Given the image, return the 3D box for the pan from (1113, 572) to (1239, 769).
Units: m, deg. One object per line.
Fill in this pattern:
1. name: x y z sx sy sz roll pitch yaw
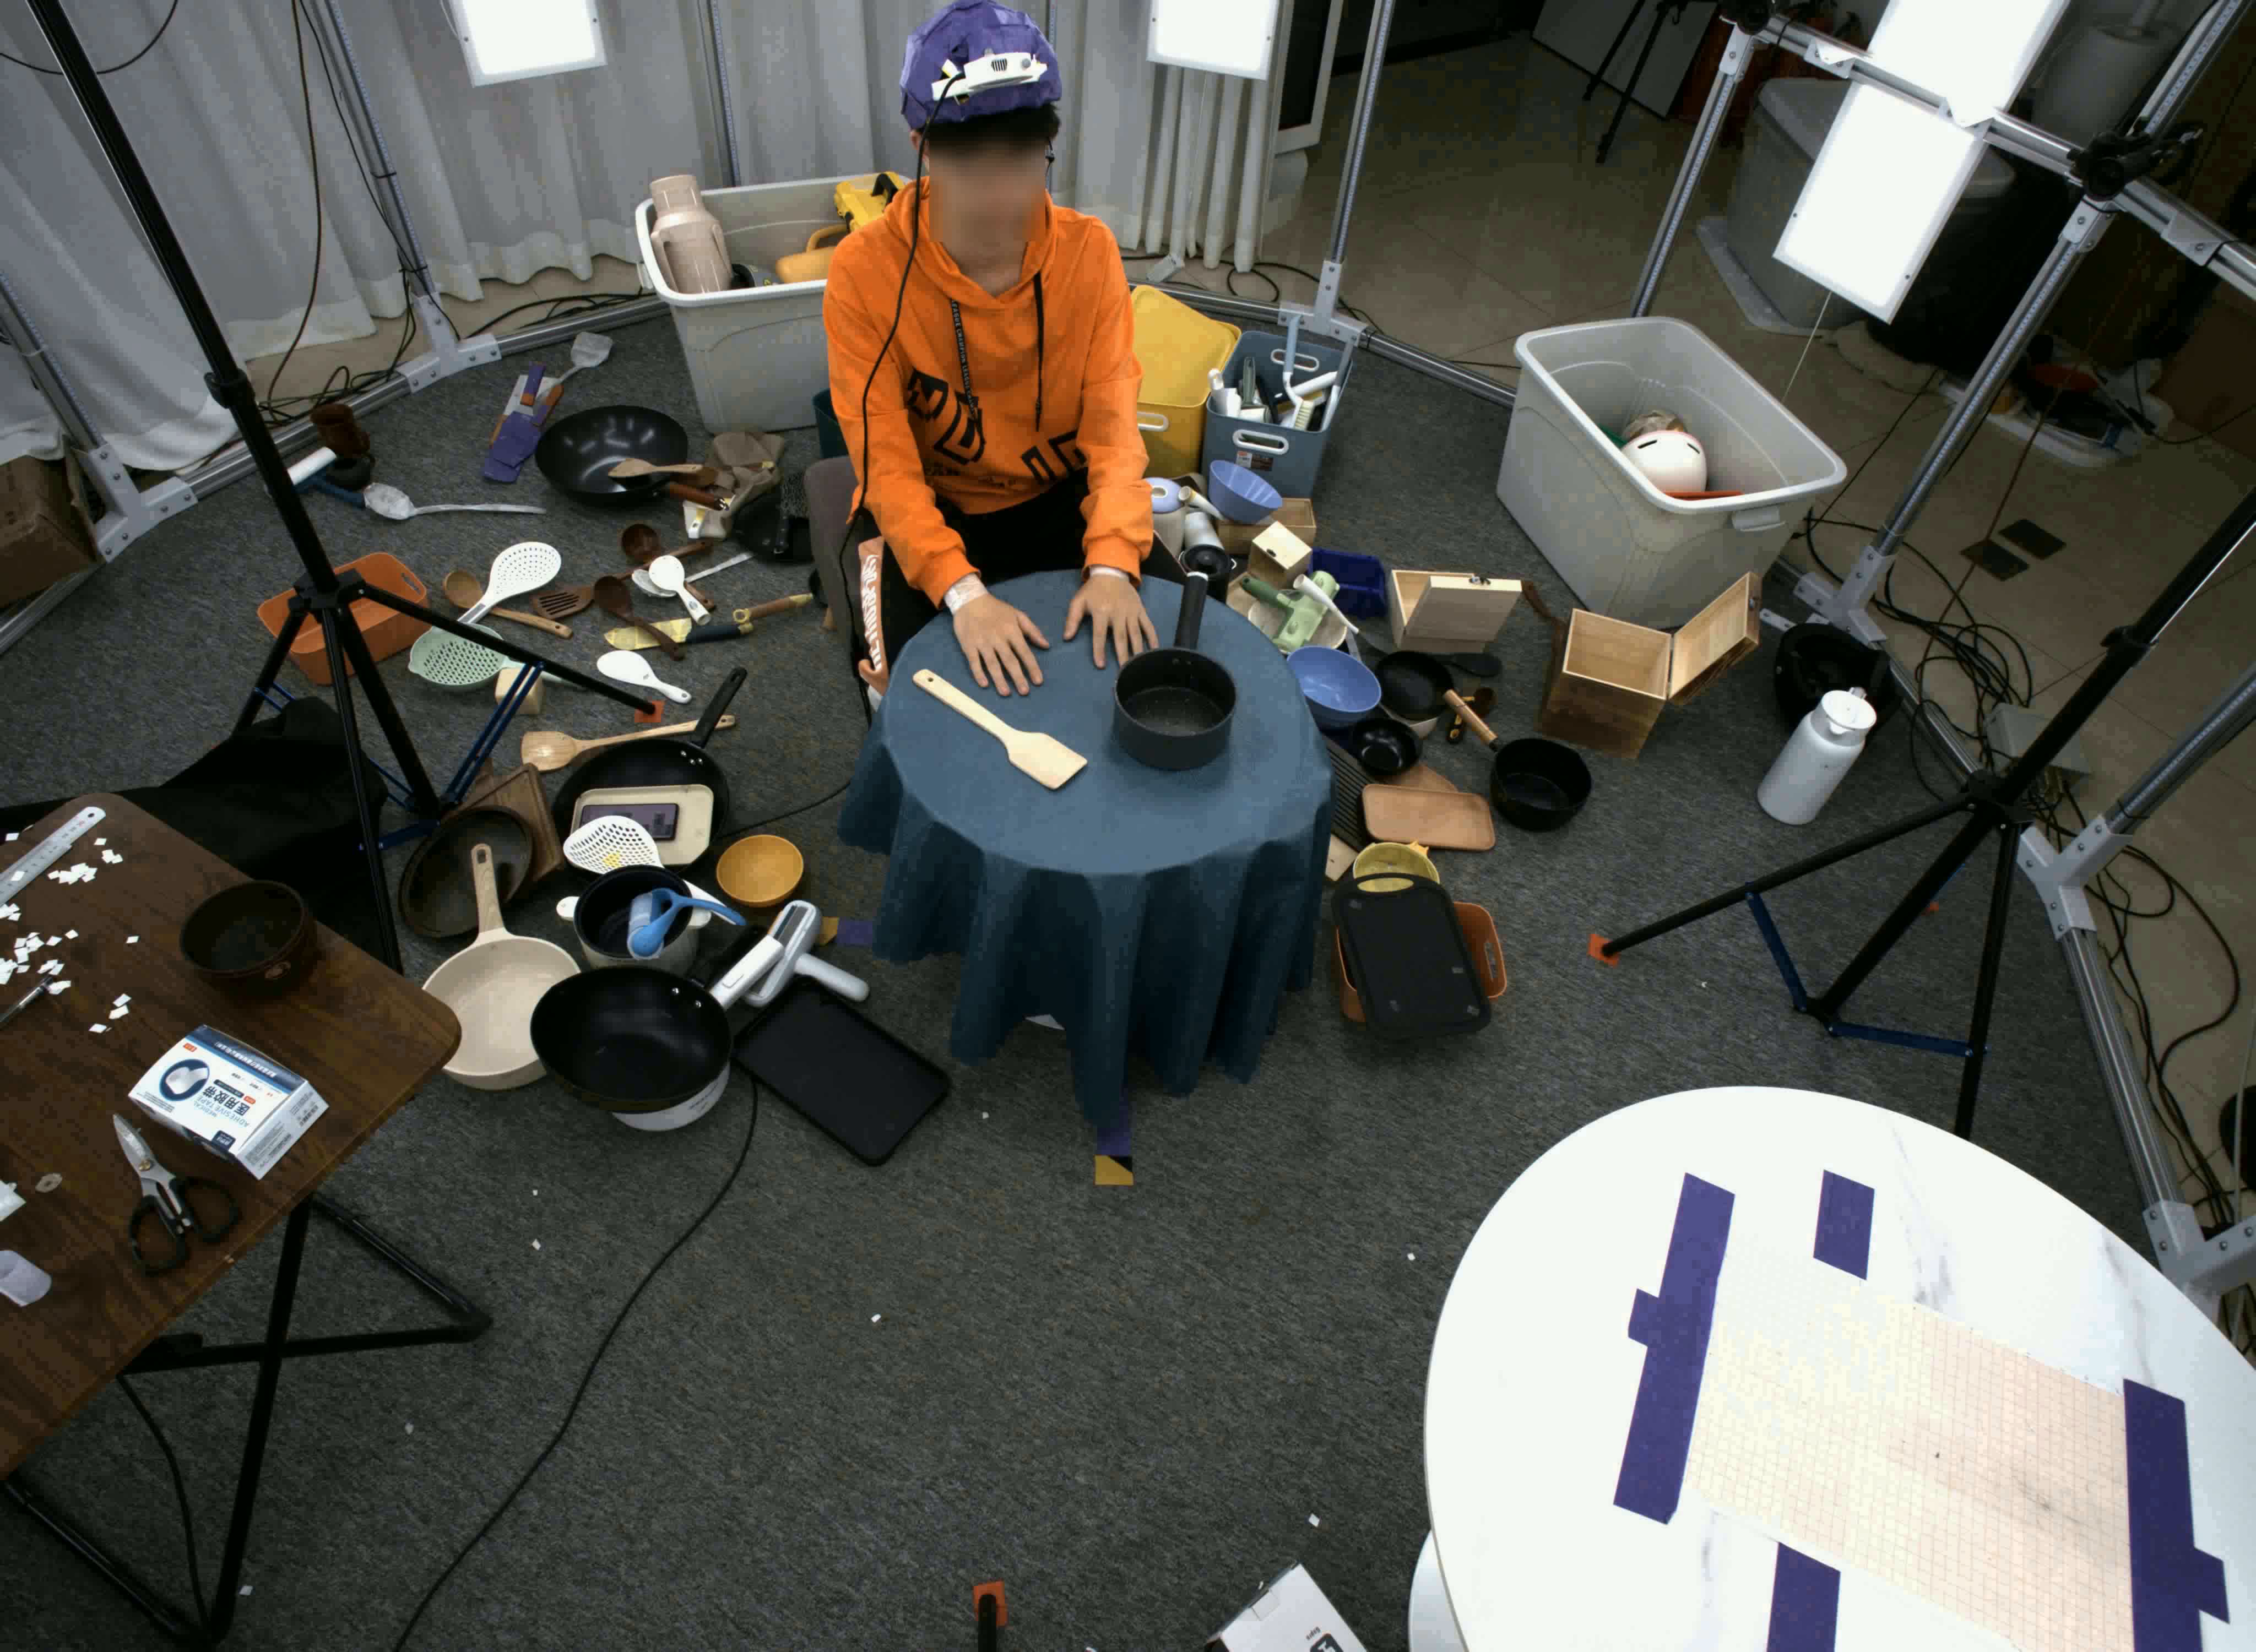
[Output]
1. pan: 0.079 -0.223 1.813 0.172 0.084 0.336 11 51 5

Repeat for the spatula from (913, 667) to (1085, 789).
1. spatula: -0.189 -0.143 1.774 0.297 0.010 0.073 35 59 24
